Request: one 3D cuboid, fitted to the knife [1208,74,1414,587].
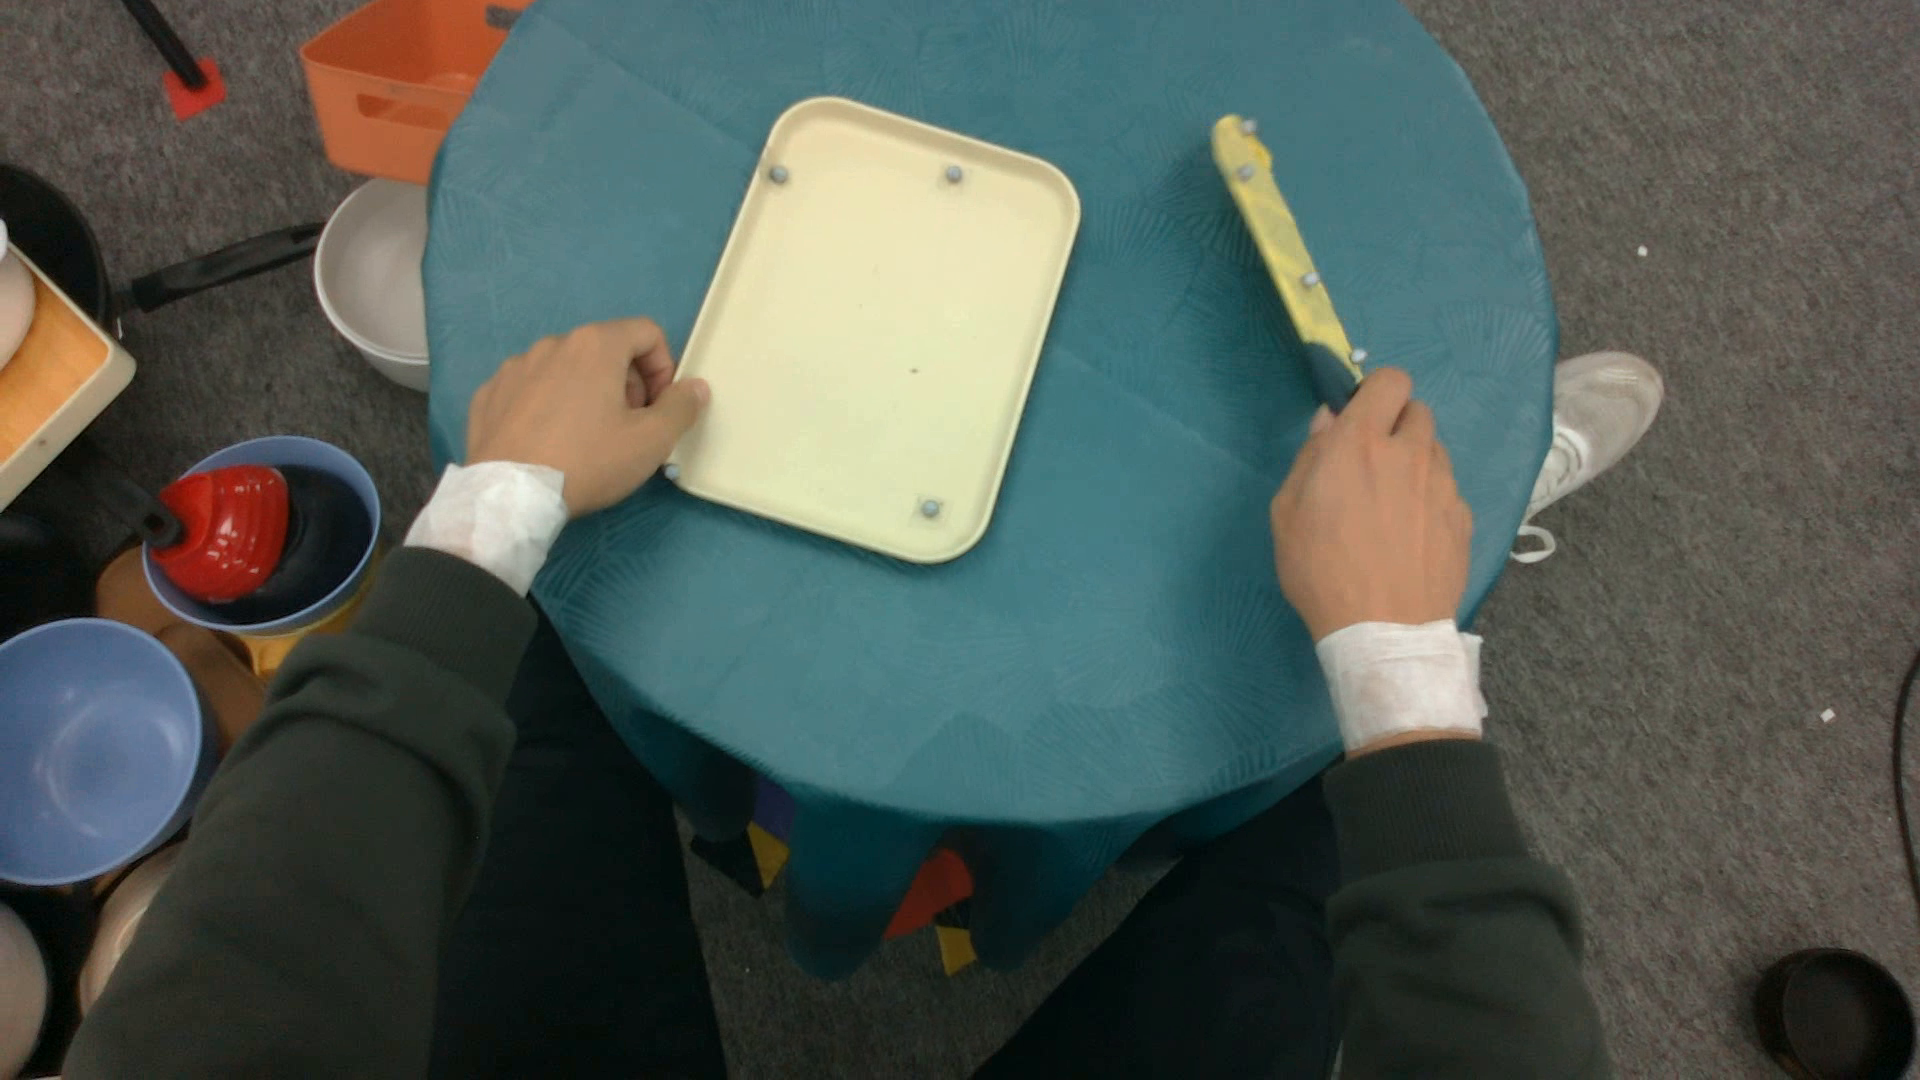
[{"bbox_3d":[0.173,-0.112,0.690,0.027,0.081,0.290,-24,71,29],"label":"knife"}]

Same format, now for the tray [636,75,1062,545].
[{"bbox_3d":[-0.052,-0.121,0.702,0.171,0.017,0.240,17,70,-2],"label":"tray"}]
